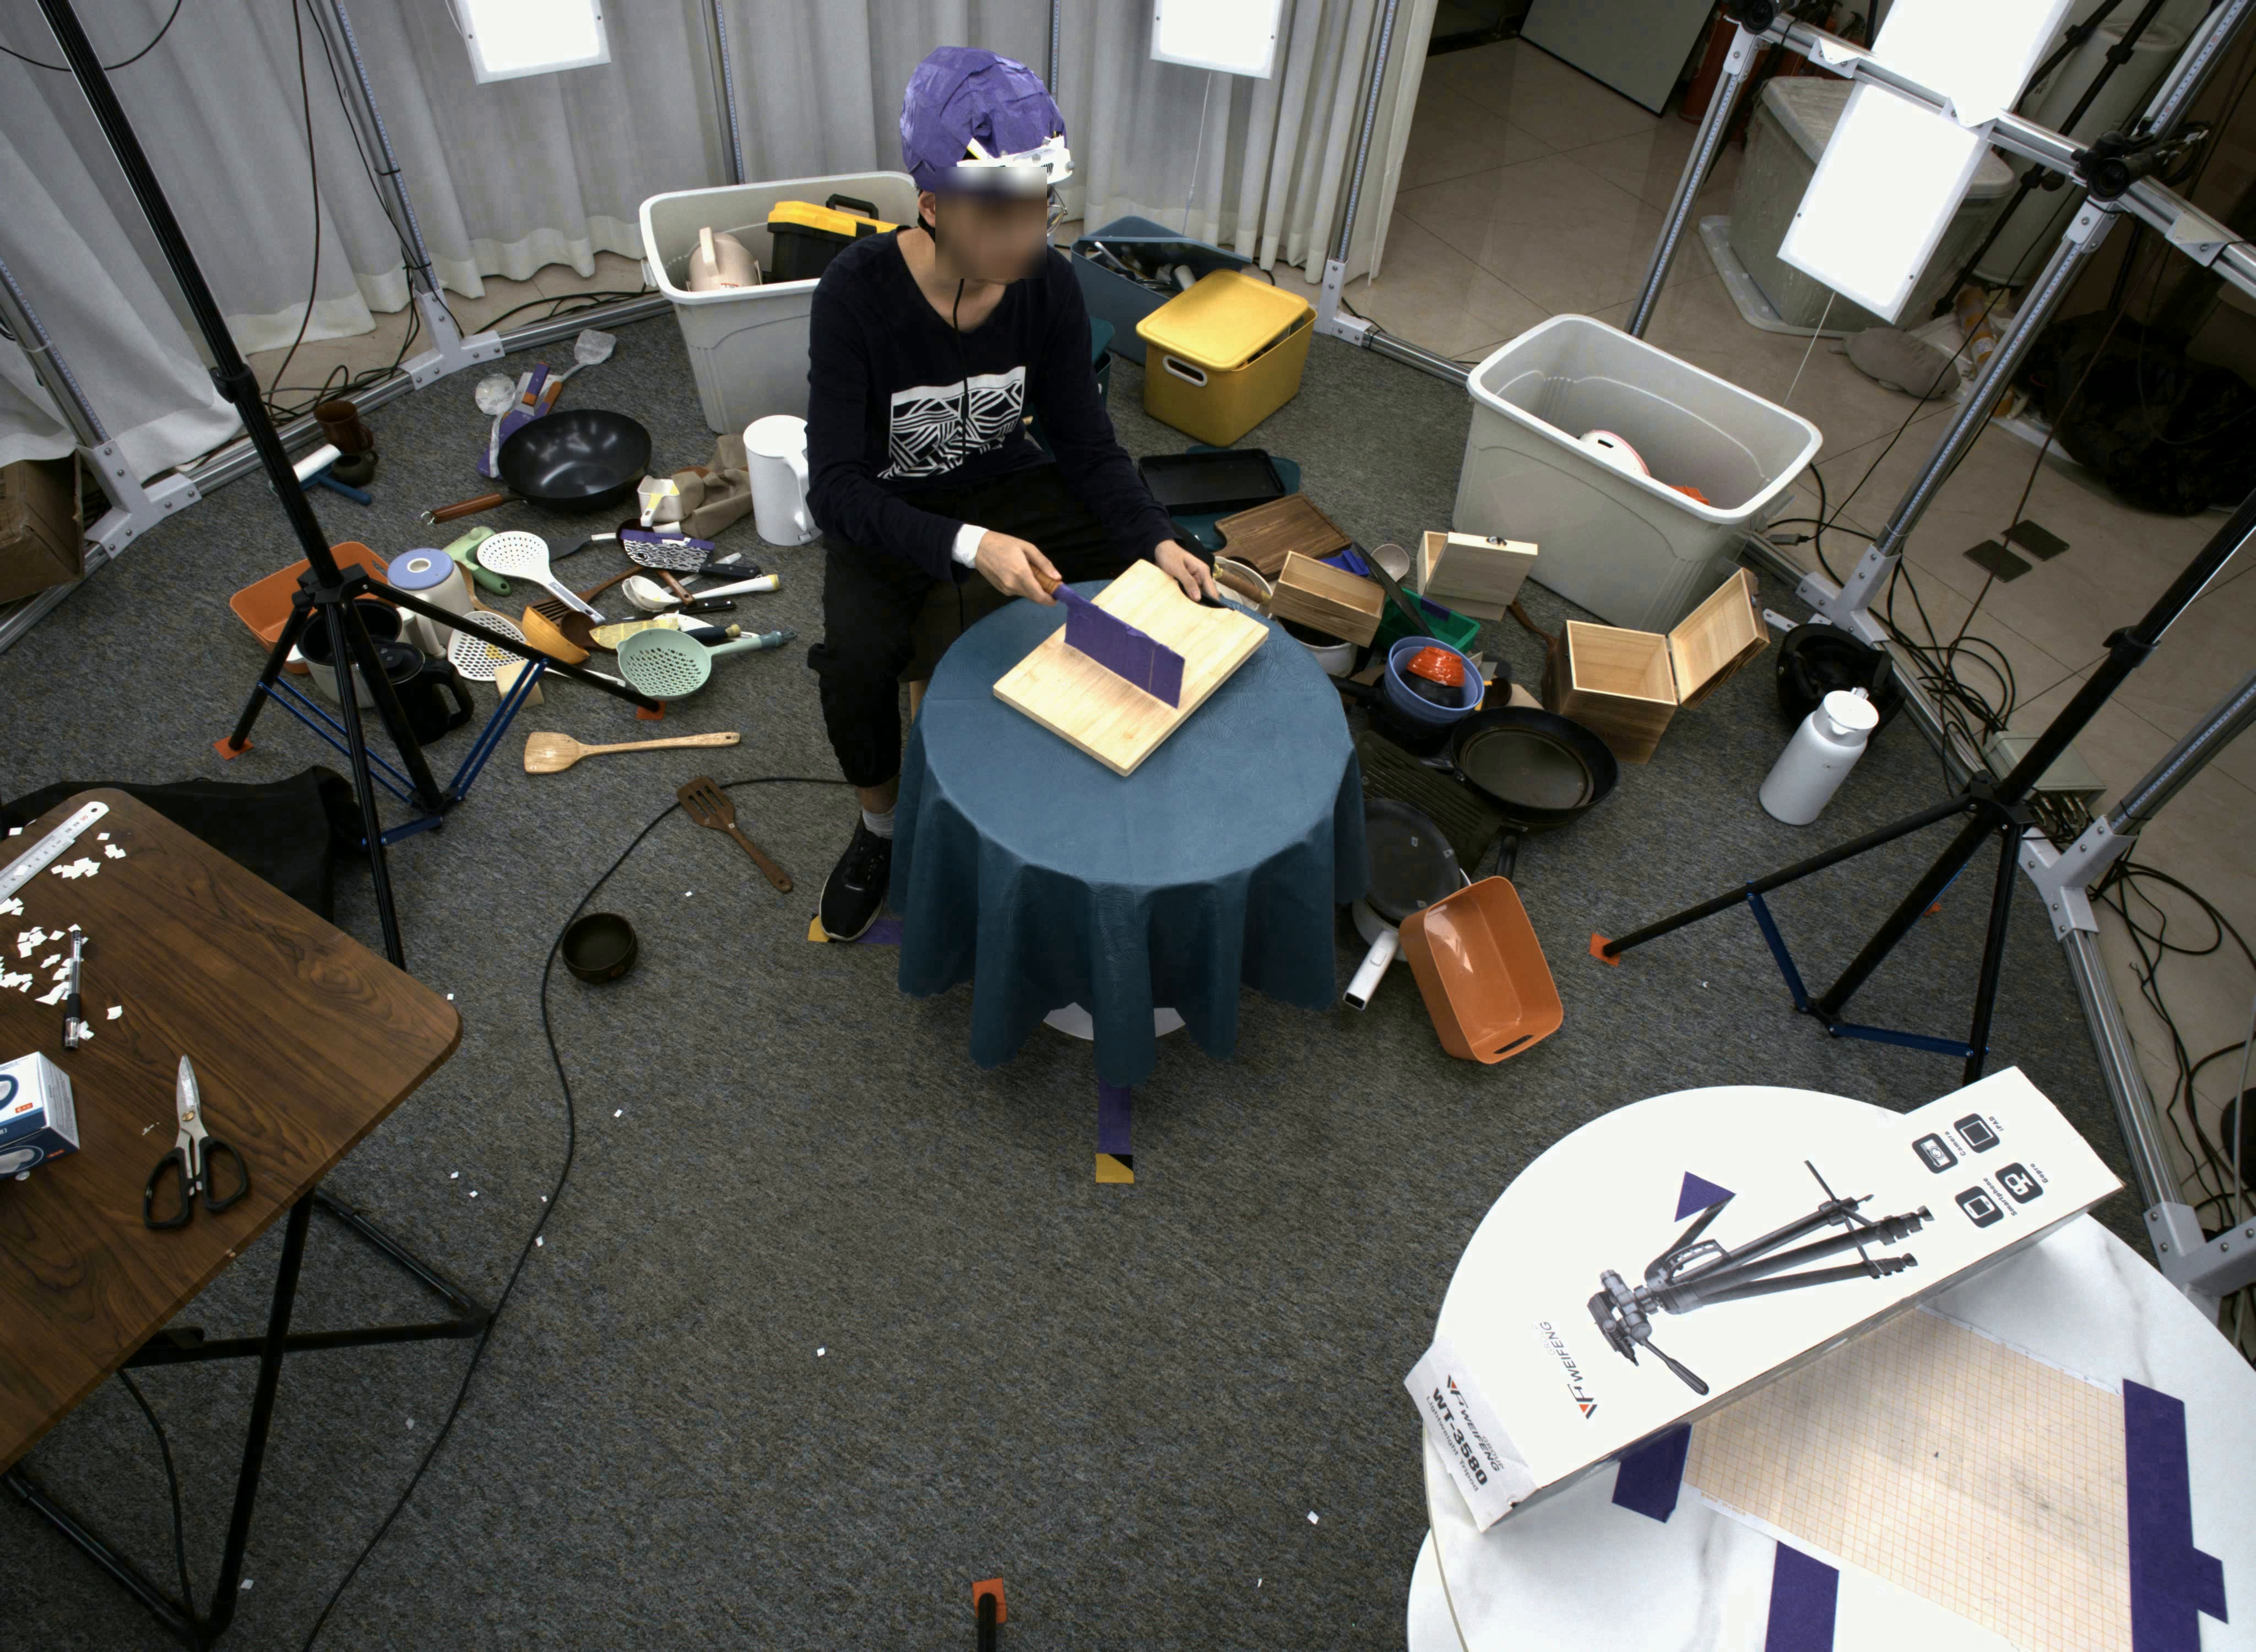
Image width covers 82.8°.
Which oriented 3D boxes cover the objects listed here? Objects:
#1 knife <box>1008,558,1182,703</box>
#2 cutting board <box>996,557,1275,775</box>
[{"bbox_3d":[-0.050,-0.270,1.797,0.320,0.101,0.032,36,49,27],"label":"knife"},{"bbox_3d":[0.013,-0.241,1.848,0.253,0.023,0.353,32,59,22],"label":"cutting board"}]
